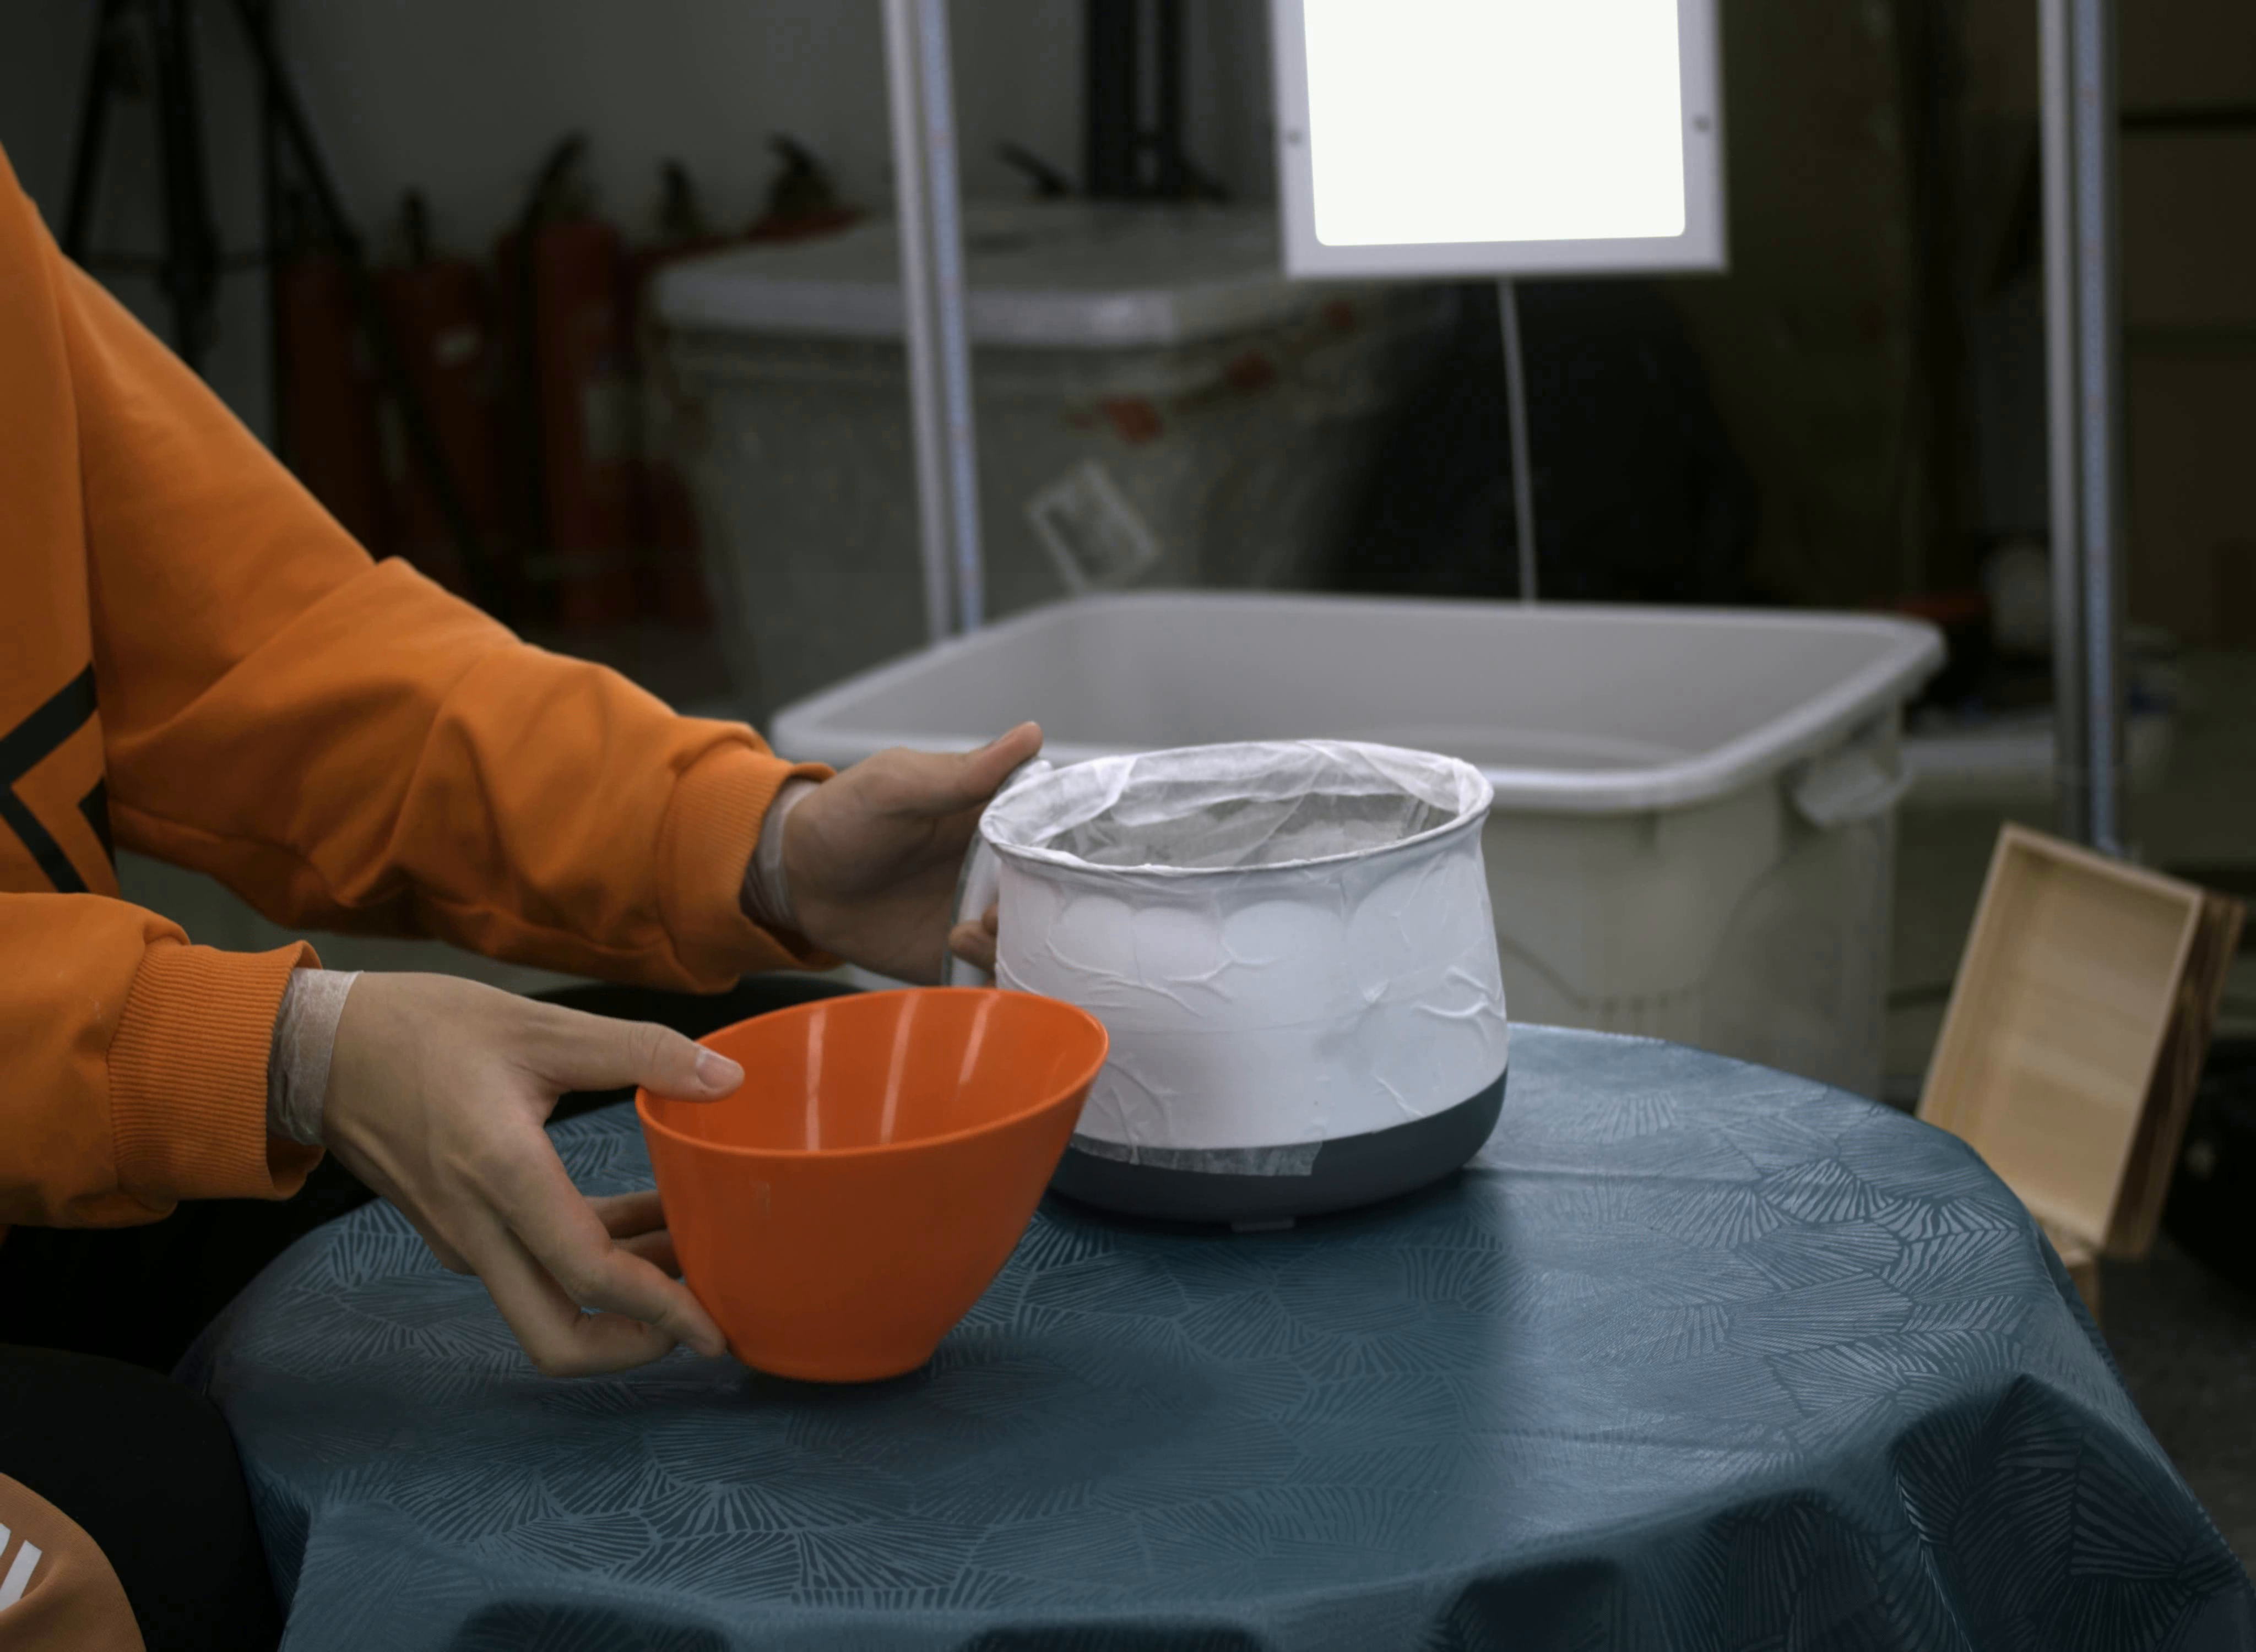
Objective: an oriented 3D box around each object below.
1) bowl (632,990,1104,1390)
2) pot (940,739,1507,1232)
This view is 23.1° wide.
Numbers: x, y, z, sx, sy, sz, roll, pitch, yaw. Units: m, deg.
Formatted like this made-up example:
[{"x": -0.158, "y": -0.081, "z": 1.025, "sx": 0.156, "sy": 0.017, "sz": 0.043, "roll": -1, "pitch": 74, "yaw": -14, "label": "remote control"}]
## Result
[{"x": -0.081, "y": 0.116, "z": 1.727, "sx": 0.147, "sy": 0.105, "sz": 0.148, "roll": 0, "pitch": 15, "yaw": -1, "label": "bowl"}, {"x": 0.021, "y": 0.050, "z": 1.912, "sx": 0.239, "sy": 0.137, "sz": 0.174, "roll": 9, "pitch": 19, "yaw": 44, "label": "pot"}]
